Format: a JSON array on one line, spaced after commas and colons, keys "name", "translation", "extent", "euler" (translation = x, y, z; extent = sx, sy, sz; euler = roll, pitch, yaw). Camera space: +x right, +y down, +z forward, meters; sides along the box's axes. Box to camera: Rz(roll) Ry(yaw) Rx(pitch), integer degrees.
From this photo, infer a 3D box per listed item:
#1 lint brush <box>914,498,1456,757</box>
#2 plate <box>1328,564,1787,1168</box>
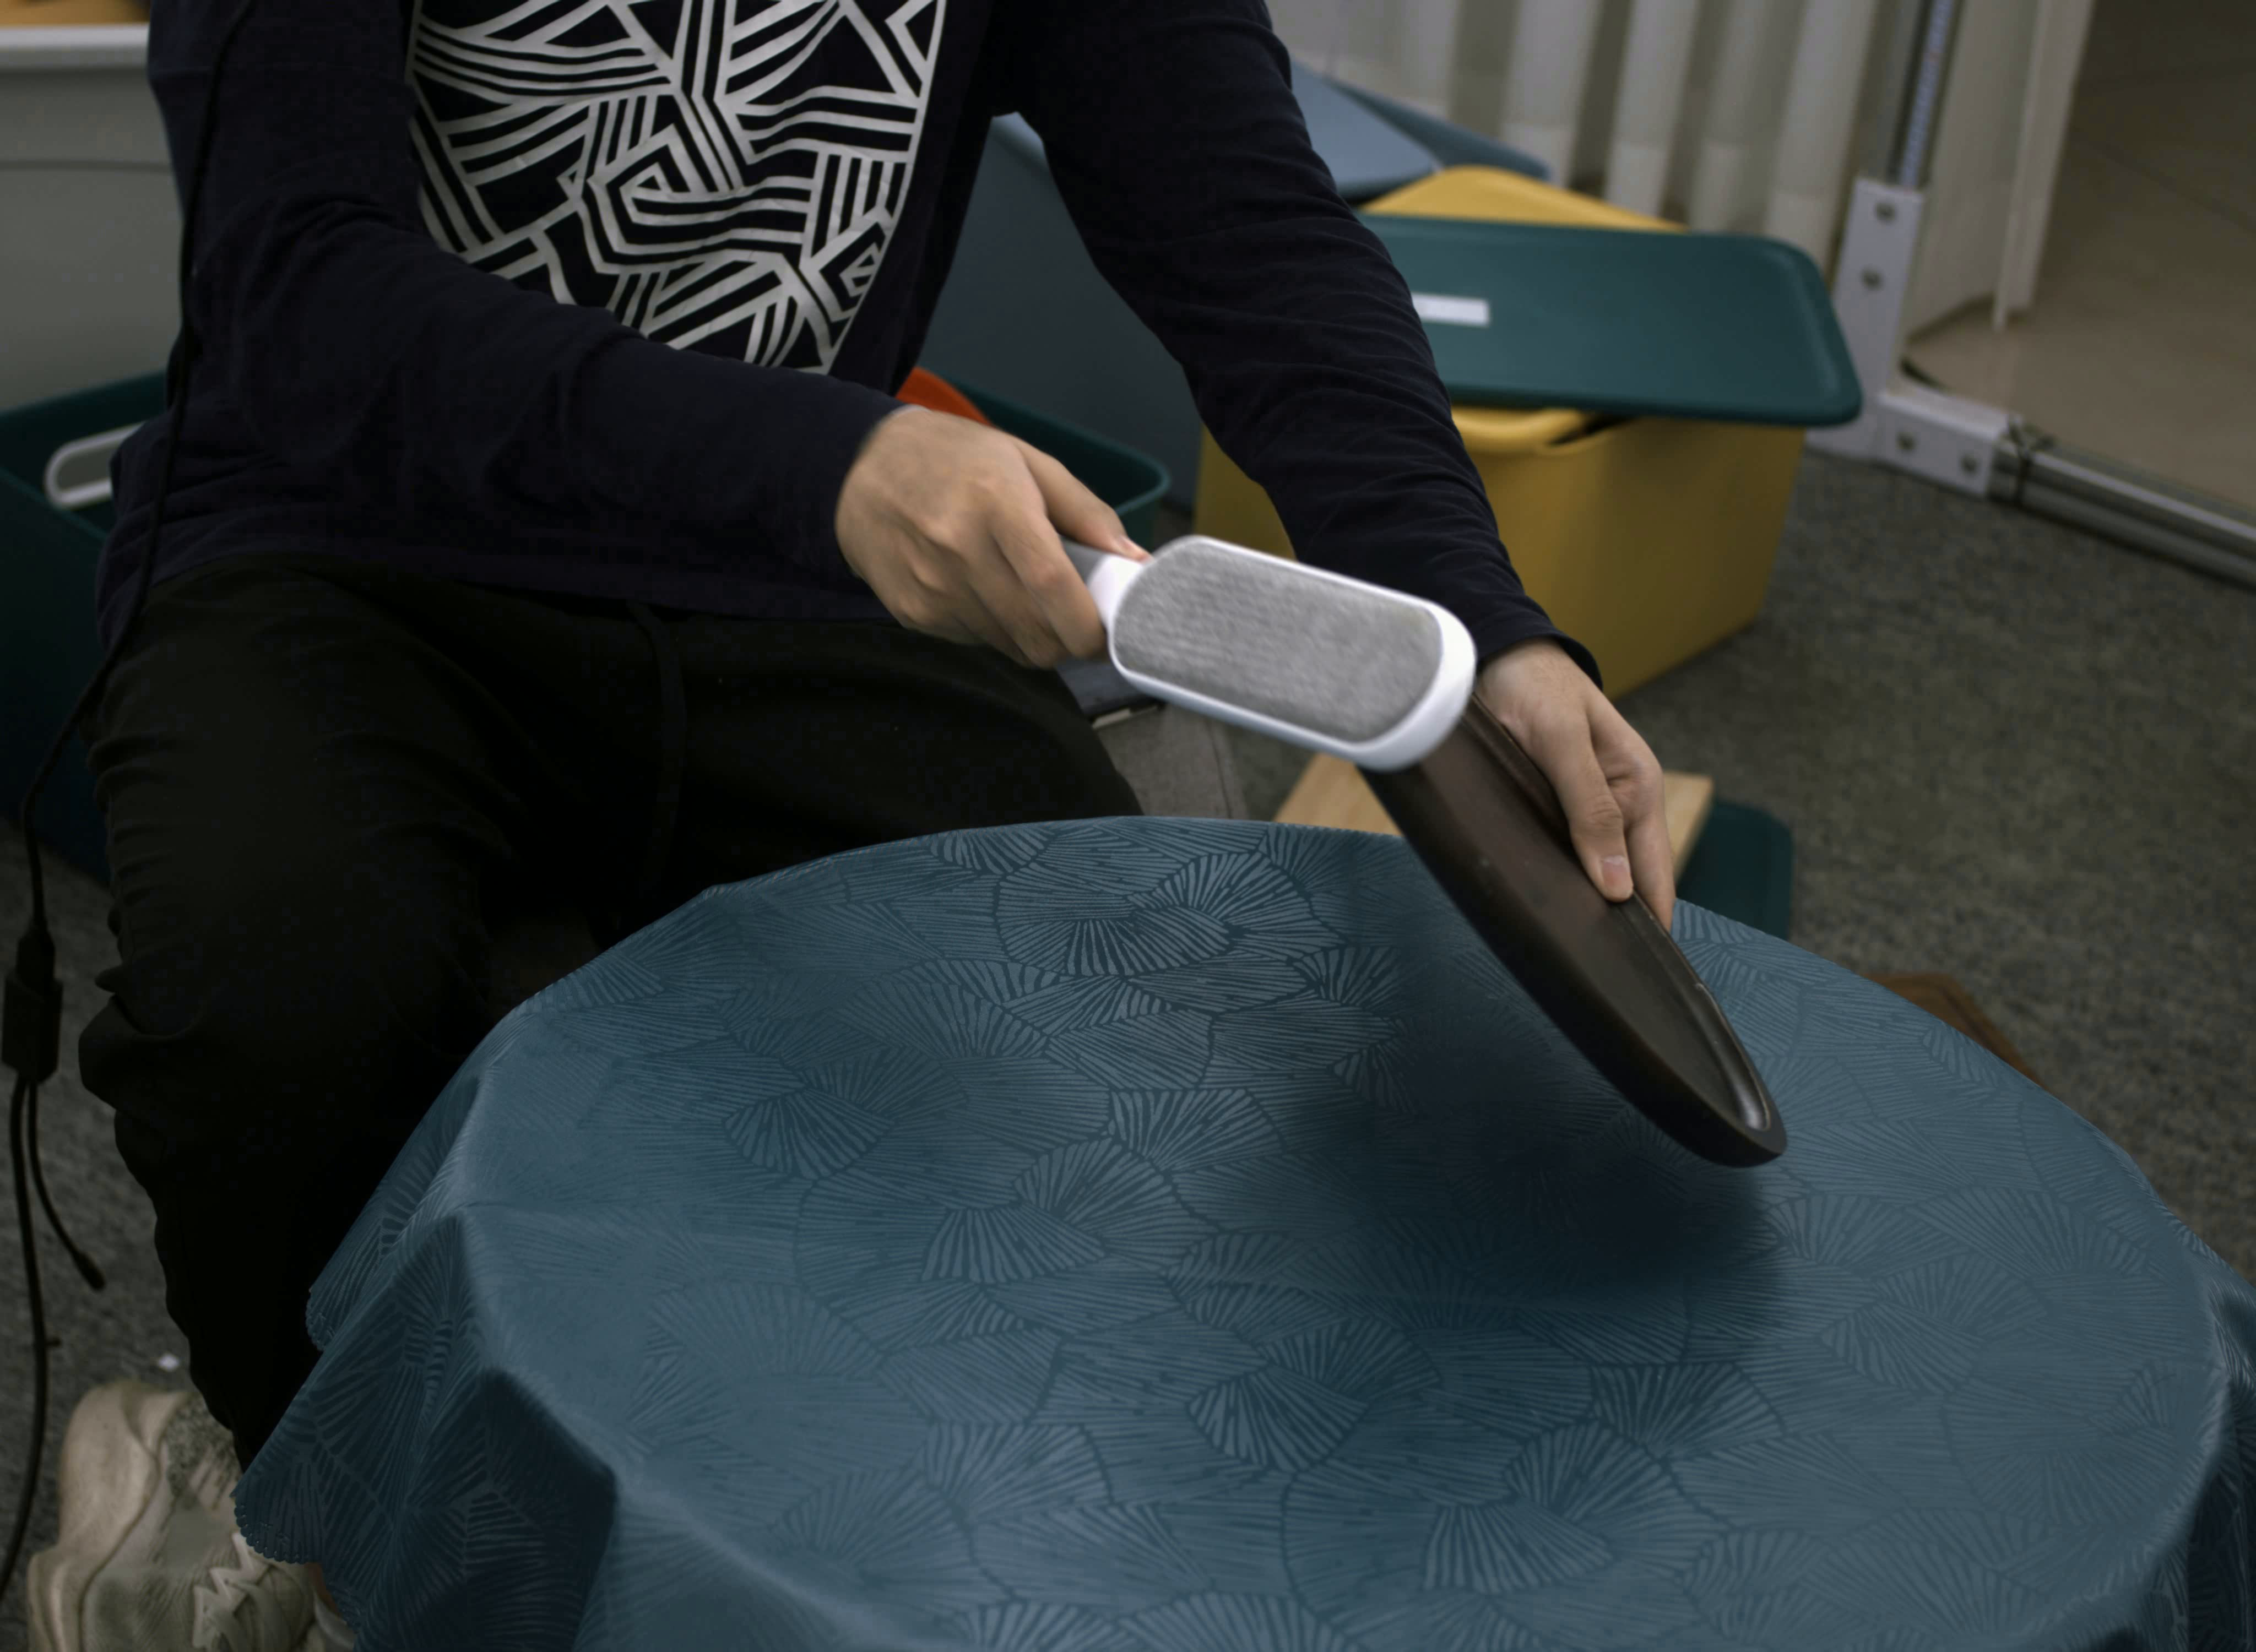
[{"name": "lint brush", "translation": [0.013, -0.077, 1.802], "extent": [0.021, 0.060, 0.311], "euler": [27, -4, -35]}, {"name": "plate", "translation": [0.140, 0.015, 1.814], "extent": [0.029, 0.253, 0.257], "euler": [-37, 28, 9]}]
